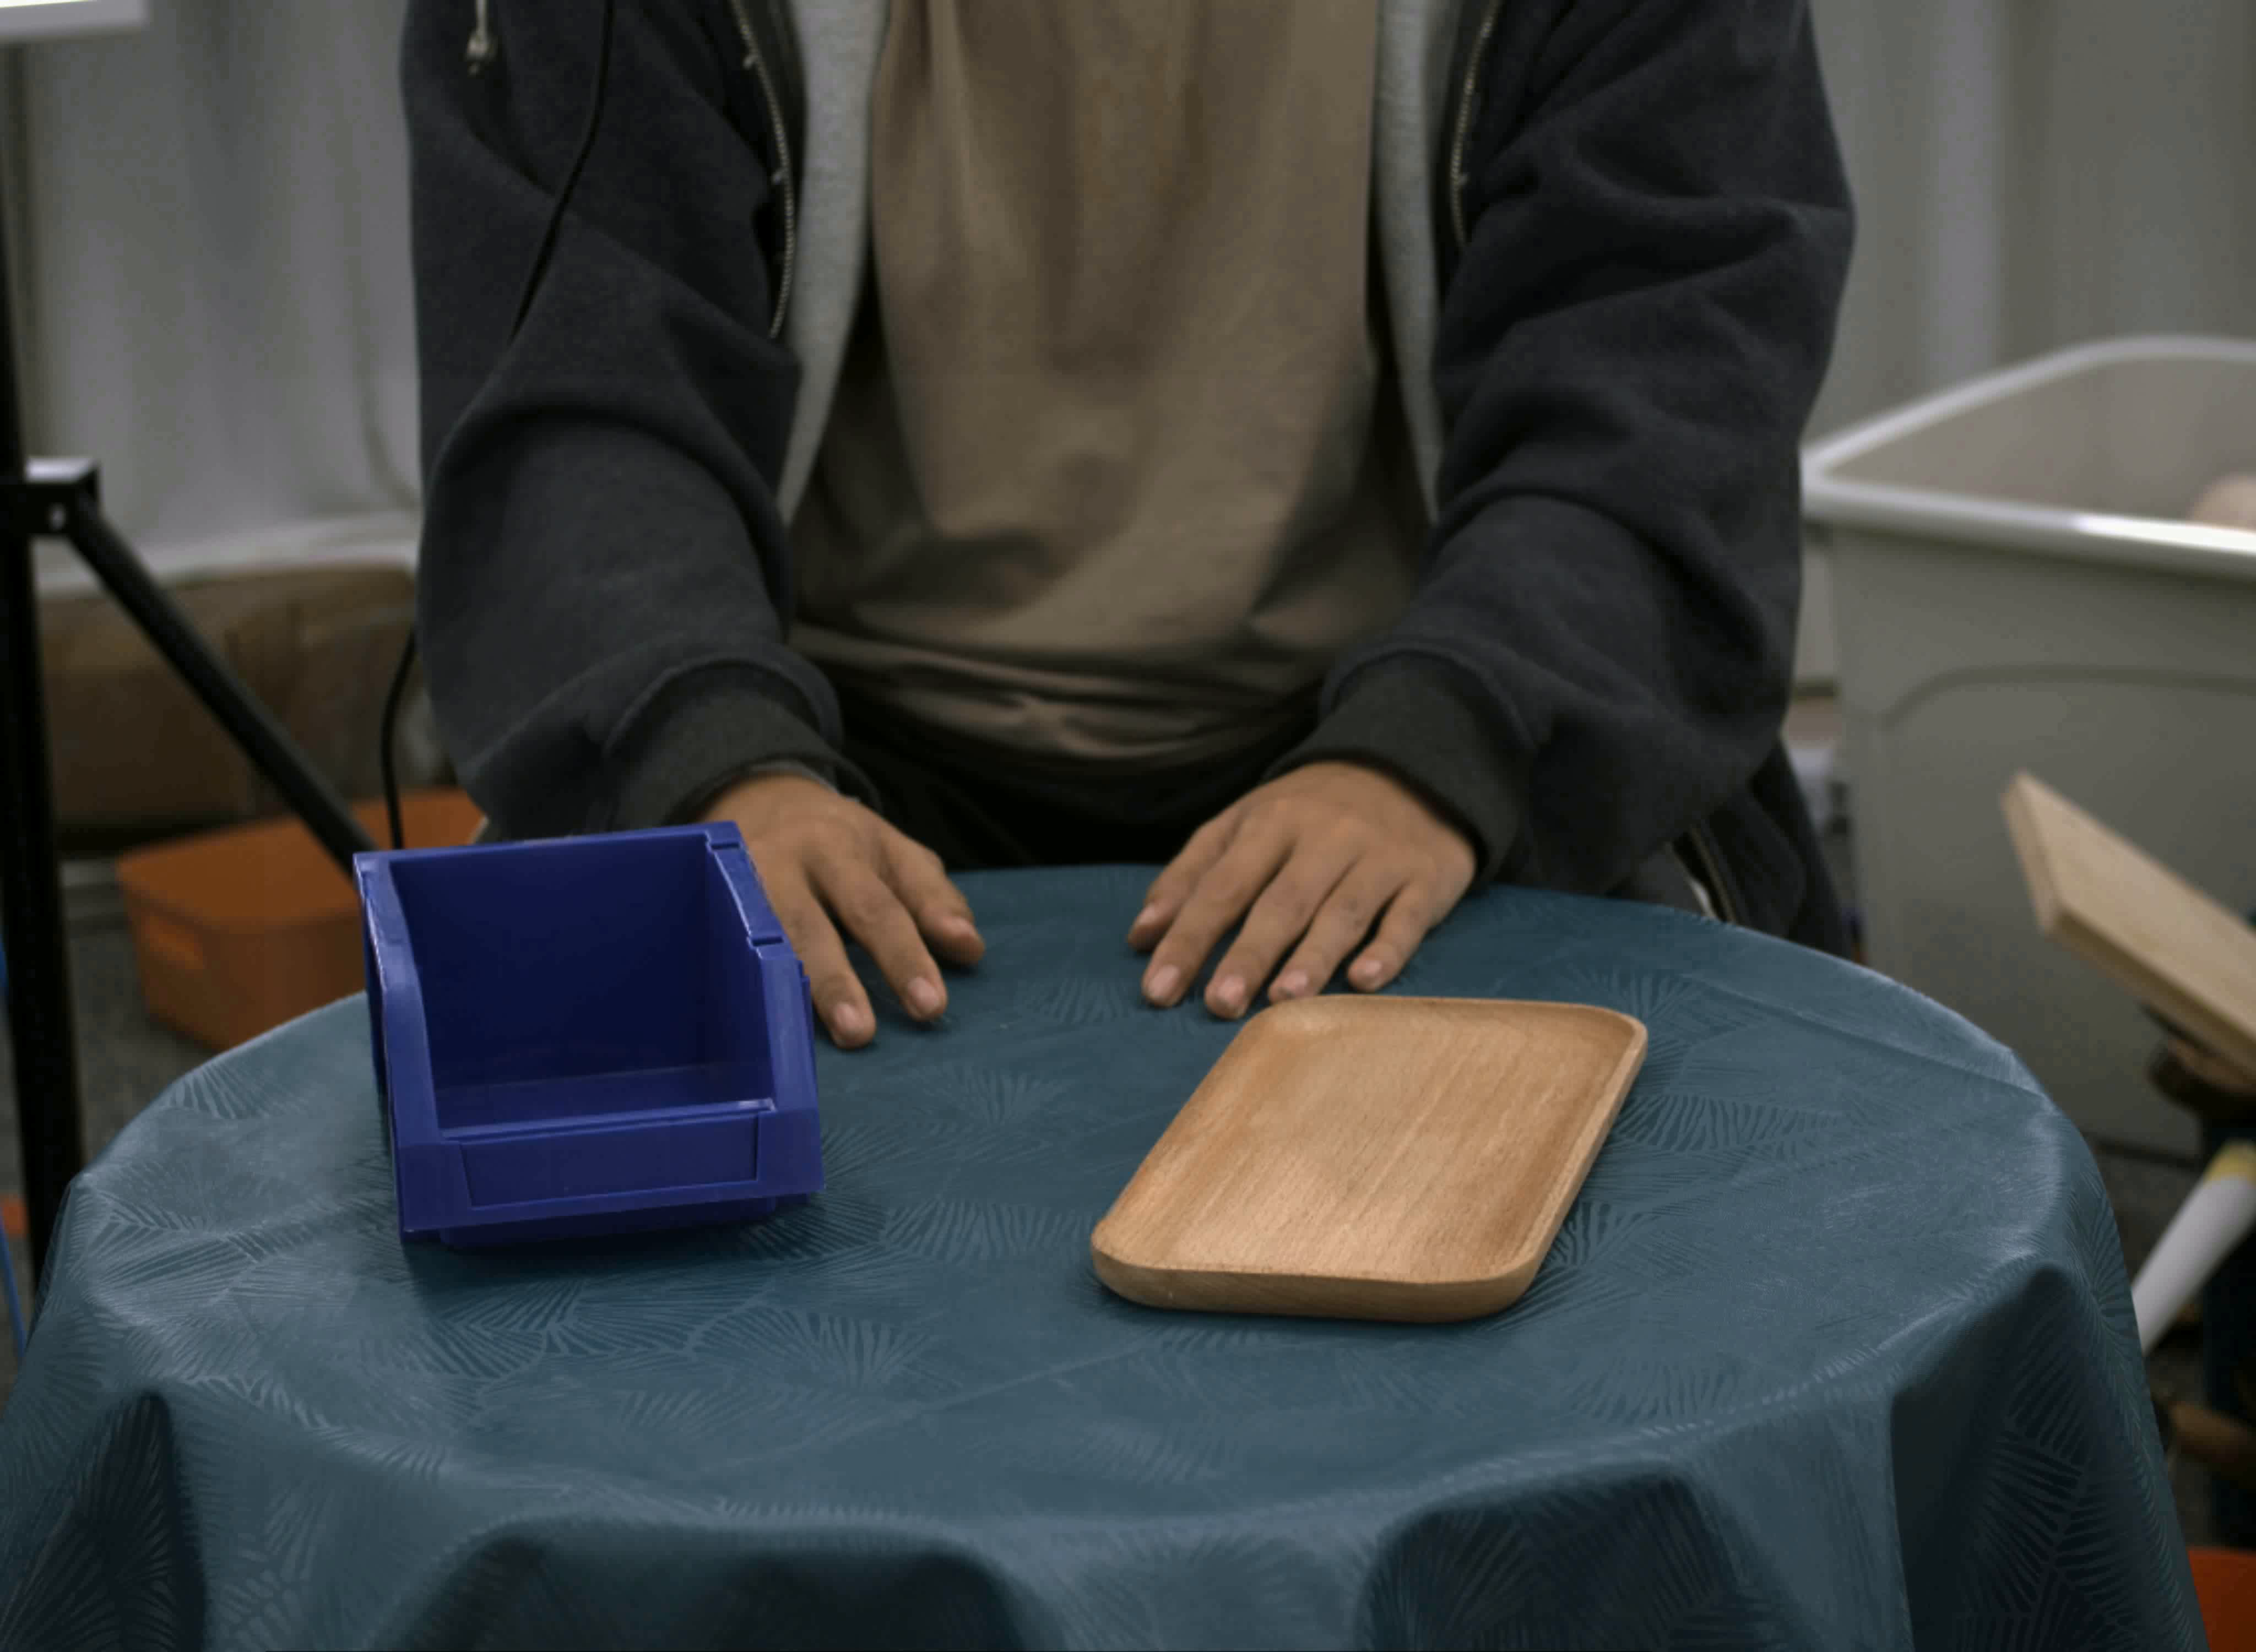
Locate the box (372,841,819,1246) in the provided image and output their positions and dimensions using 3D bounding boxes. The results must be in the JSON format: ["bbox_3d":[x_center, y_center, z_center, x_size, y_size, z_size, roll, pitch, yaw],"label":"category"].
[{"bbox_3d":[-0.159,0.066,1.583,0.123,0.082,0.181,-4,12,-7],"label":"box"}]

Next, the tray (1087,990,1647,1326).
[{"bbox_3d":[0.075,0.095,1.562,0.131,0.023,0.248,4,17,15],"label":"tray"}]
